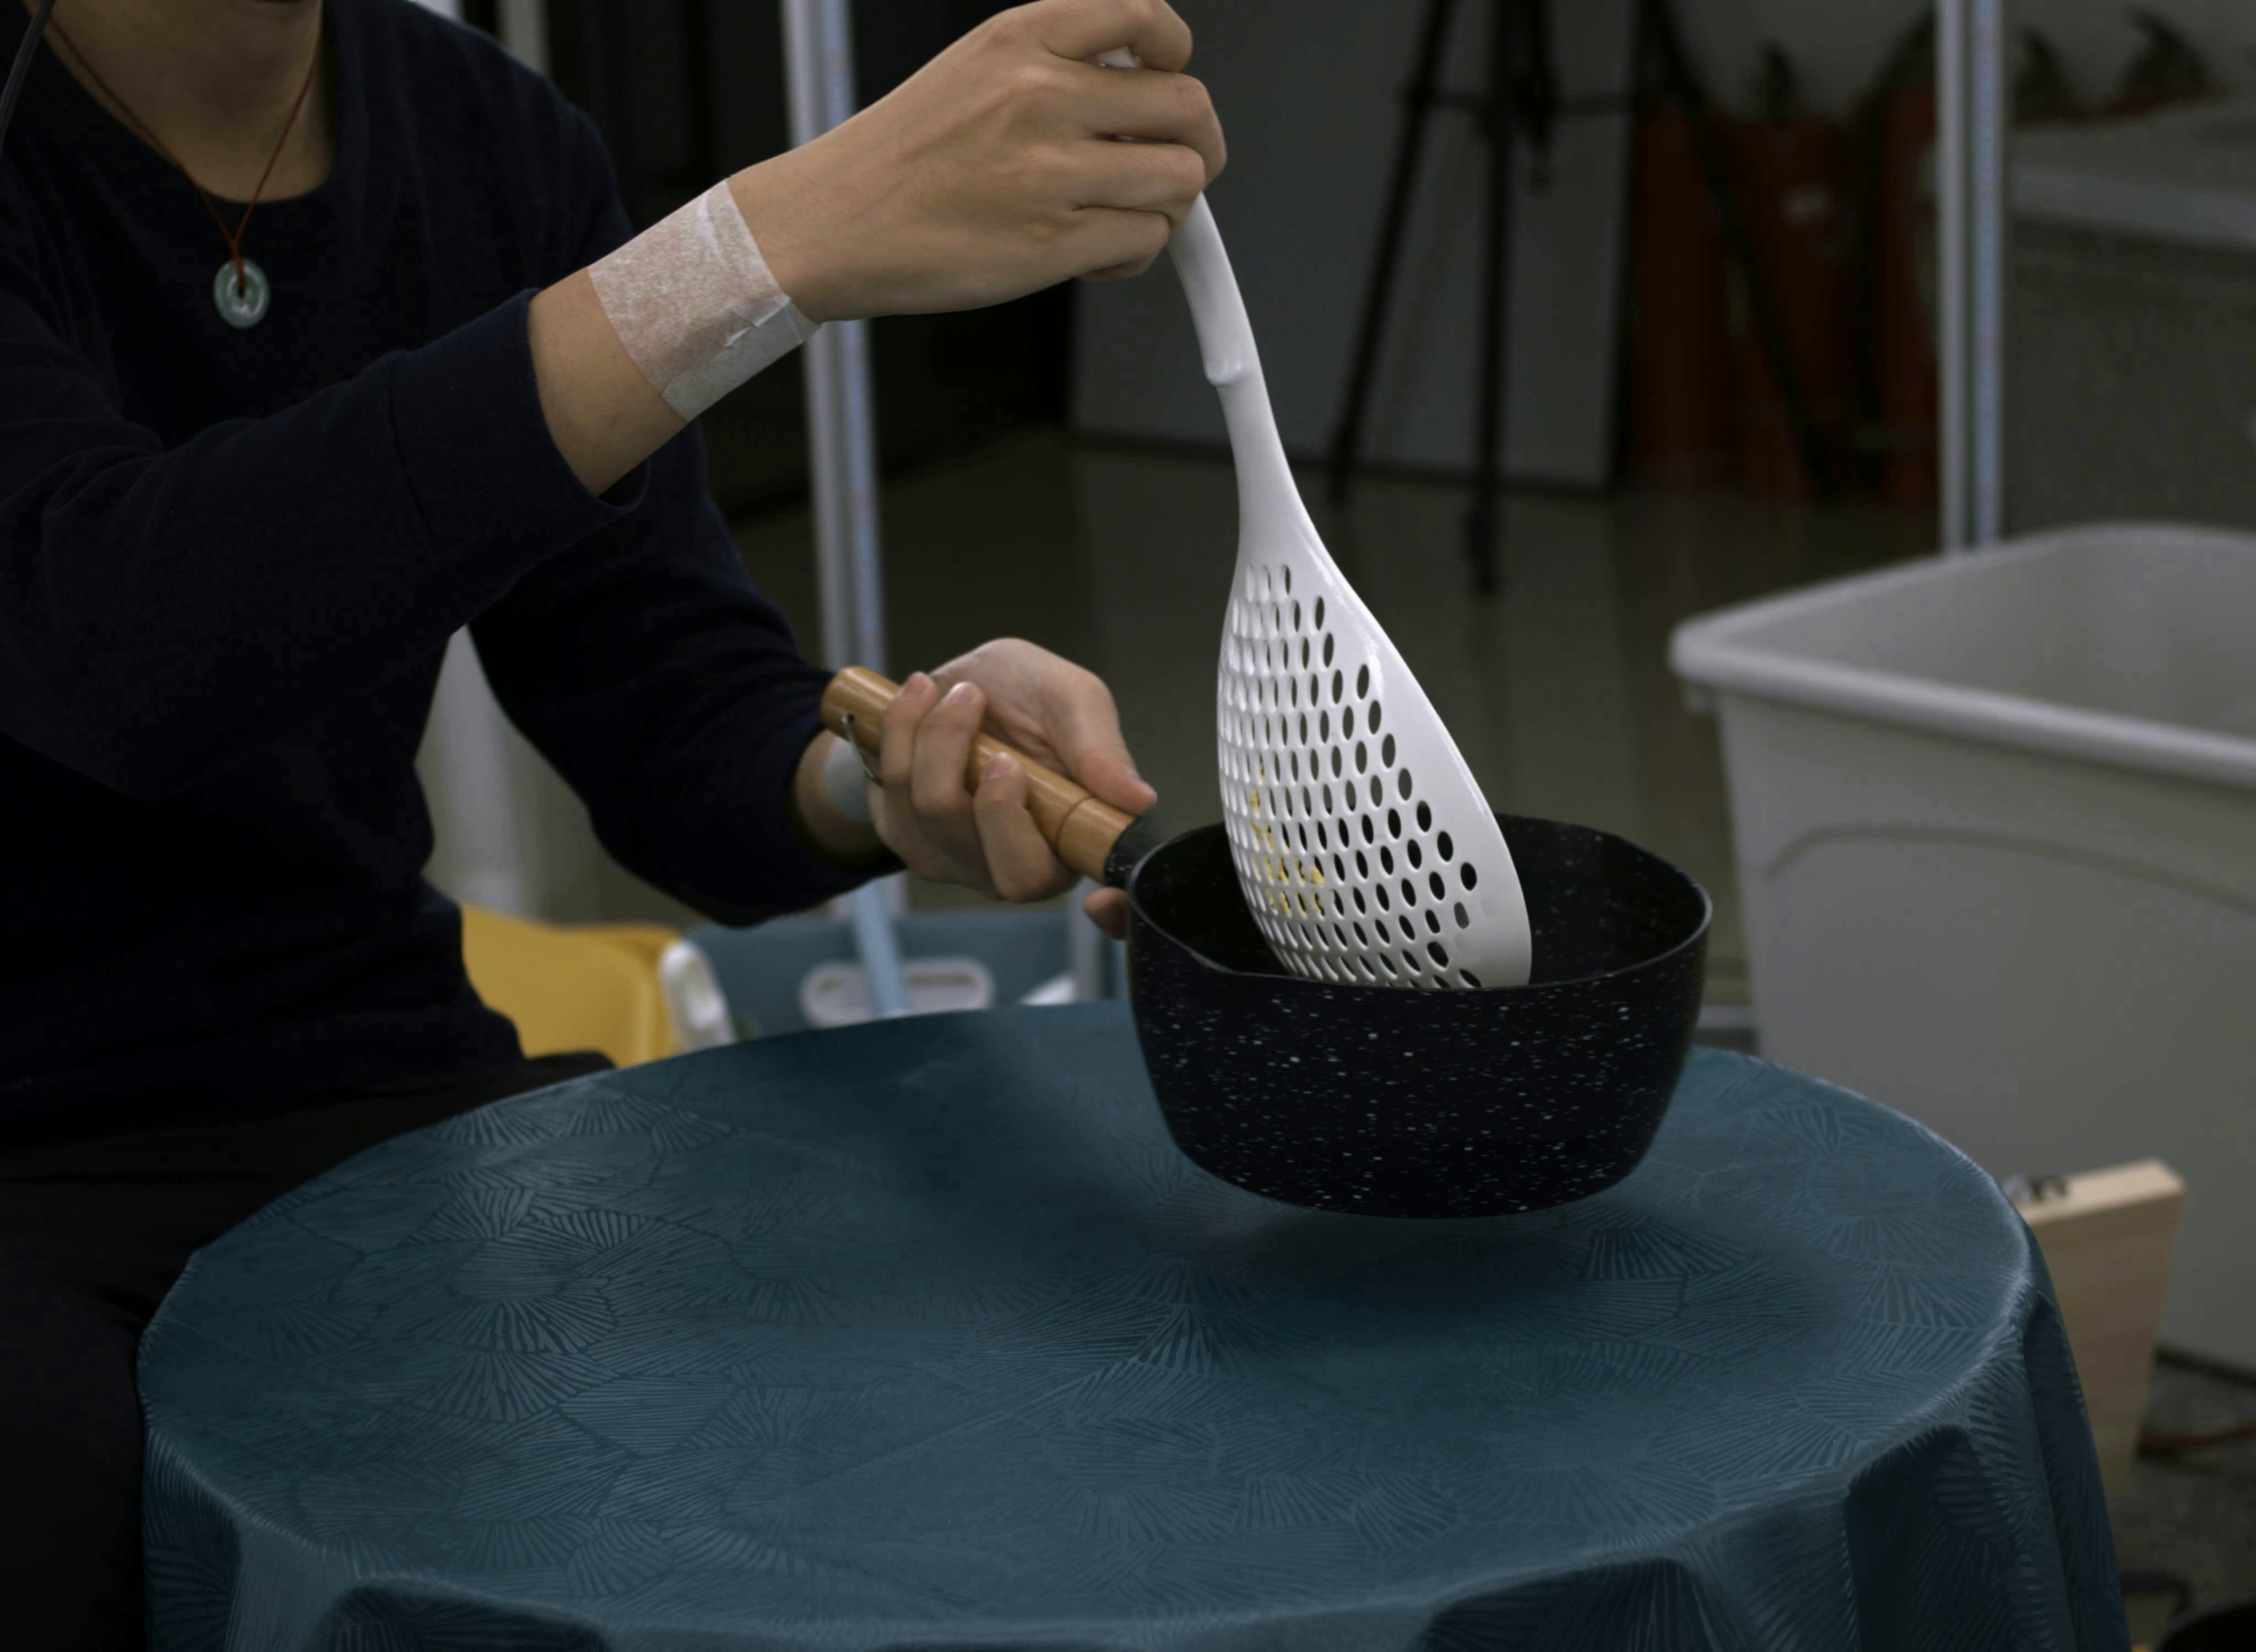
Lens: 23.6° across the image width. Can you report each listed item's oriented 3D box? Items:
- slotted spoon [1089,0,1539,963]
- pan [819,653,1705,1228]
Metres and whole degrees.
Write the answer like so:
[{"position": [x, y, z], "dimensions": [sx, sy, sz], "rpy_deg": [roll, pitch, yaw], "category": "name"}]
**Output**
[{"position": [0.041, -0.091, 1.662], "dimensions": [0.049, 0.351, 0.138], "rpy_deg": [-21, 15, -33], "category": "slotted spoon"}, {"position": [0.027, 0.031, 1.734], "dimensions": [0.345, 0.109, 0.203], "rpy_deg": [16, 23, 37], "category": "pan"}]
